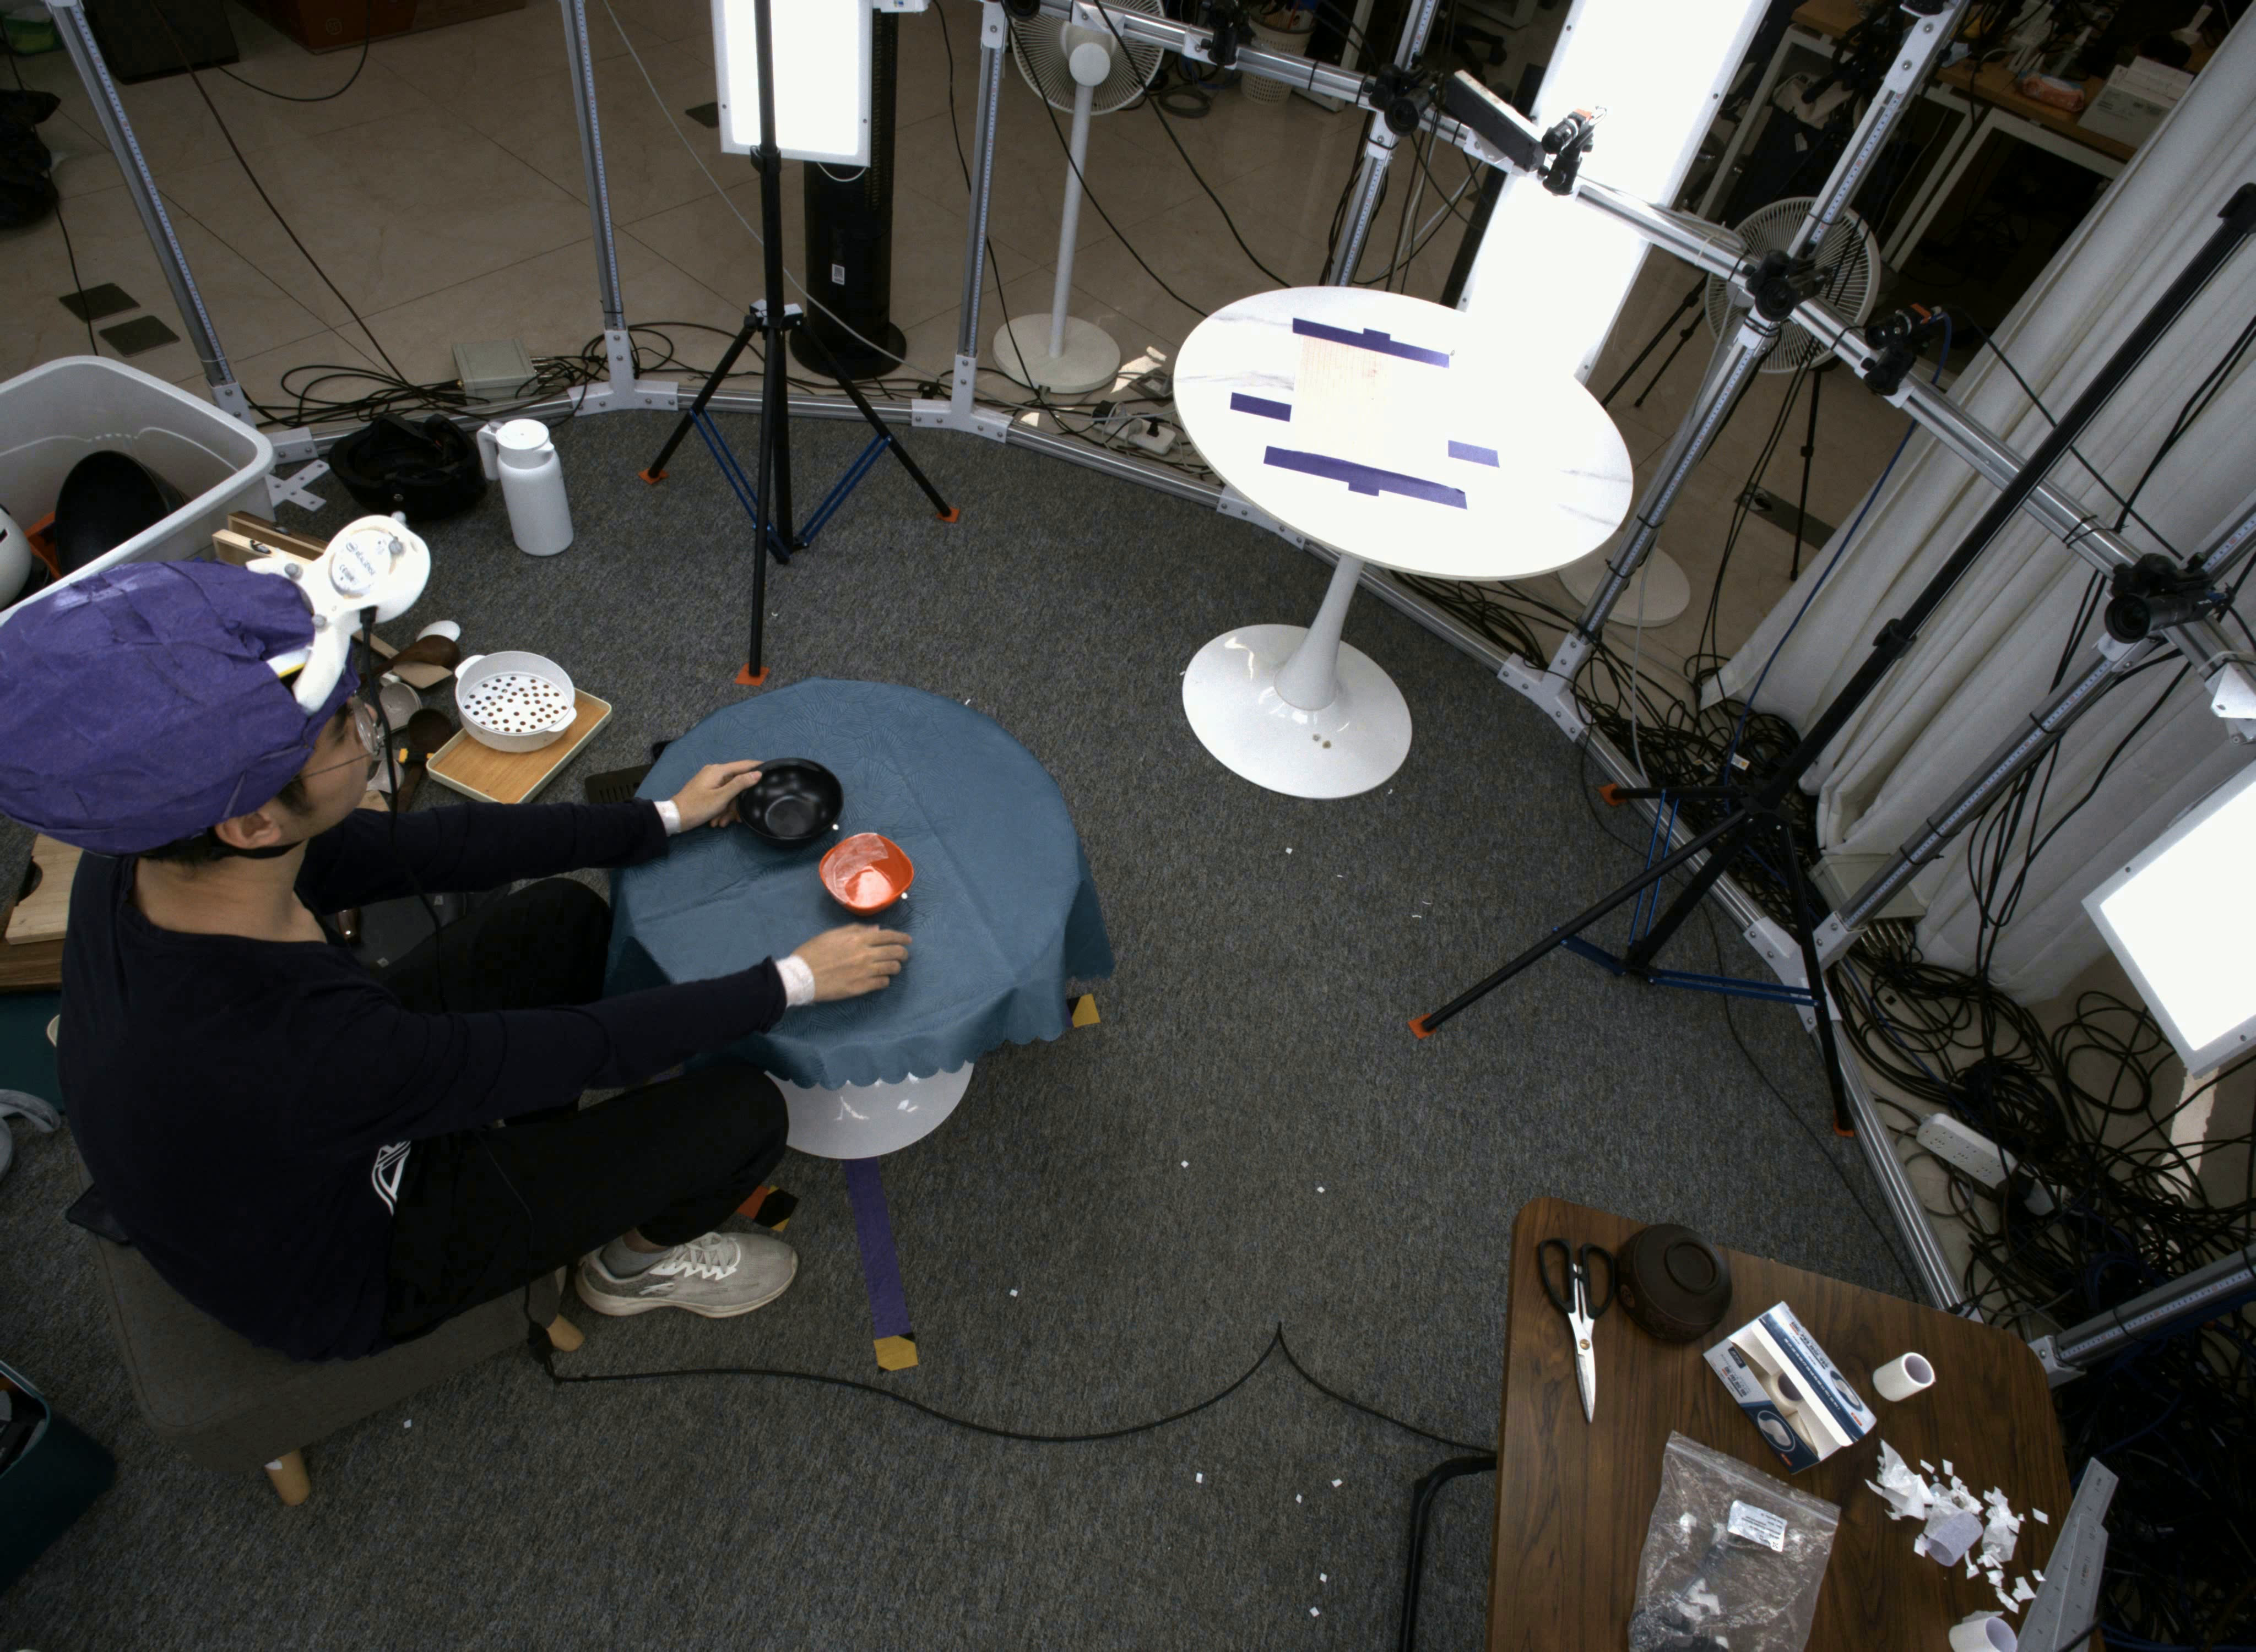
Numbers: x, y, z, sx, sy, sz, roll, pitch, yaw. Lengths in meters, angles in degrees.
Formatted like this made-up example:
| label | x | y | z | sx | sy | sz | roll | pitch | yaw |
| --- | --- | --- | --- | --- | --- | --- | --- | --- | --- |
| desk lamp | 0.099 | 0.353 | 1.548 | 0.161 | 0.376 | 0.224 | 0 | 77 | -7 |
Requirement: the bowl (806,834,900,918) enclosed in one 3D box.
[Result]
| label | x | y | z | sx | sy | sz | roll | pitch | yaw |
| --- | --- | --- | --- | --- | --- | --- | --- | --- | --- |
| bowl | -0.353 | 0.071 | 1.667 | 0.119 | 0.052 | 0.117 | 8 | 52 | -9 |

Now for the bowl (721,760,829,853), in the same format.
| label | x | y | z | sx | sy | sz | roll | pitch | yaw |
| --- | --- | --- | --- | --- | --- | --- | --- | --- | --- |
| bowl | -0.464 | -0.018 | 1.710 | 0.139 | 0.051 | 0.138 | 6 | 56 | -7 |
